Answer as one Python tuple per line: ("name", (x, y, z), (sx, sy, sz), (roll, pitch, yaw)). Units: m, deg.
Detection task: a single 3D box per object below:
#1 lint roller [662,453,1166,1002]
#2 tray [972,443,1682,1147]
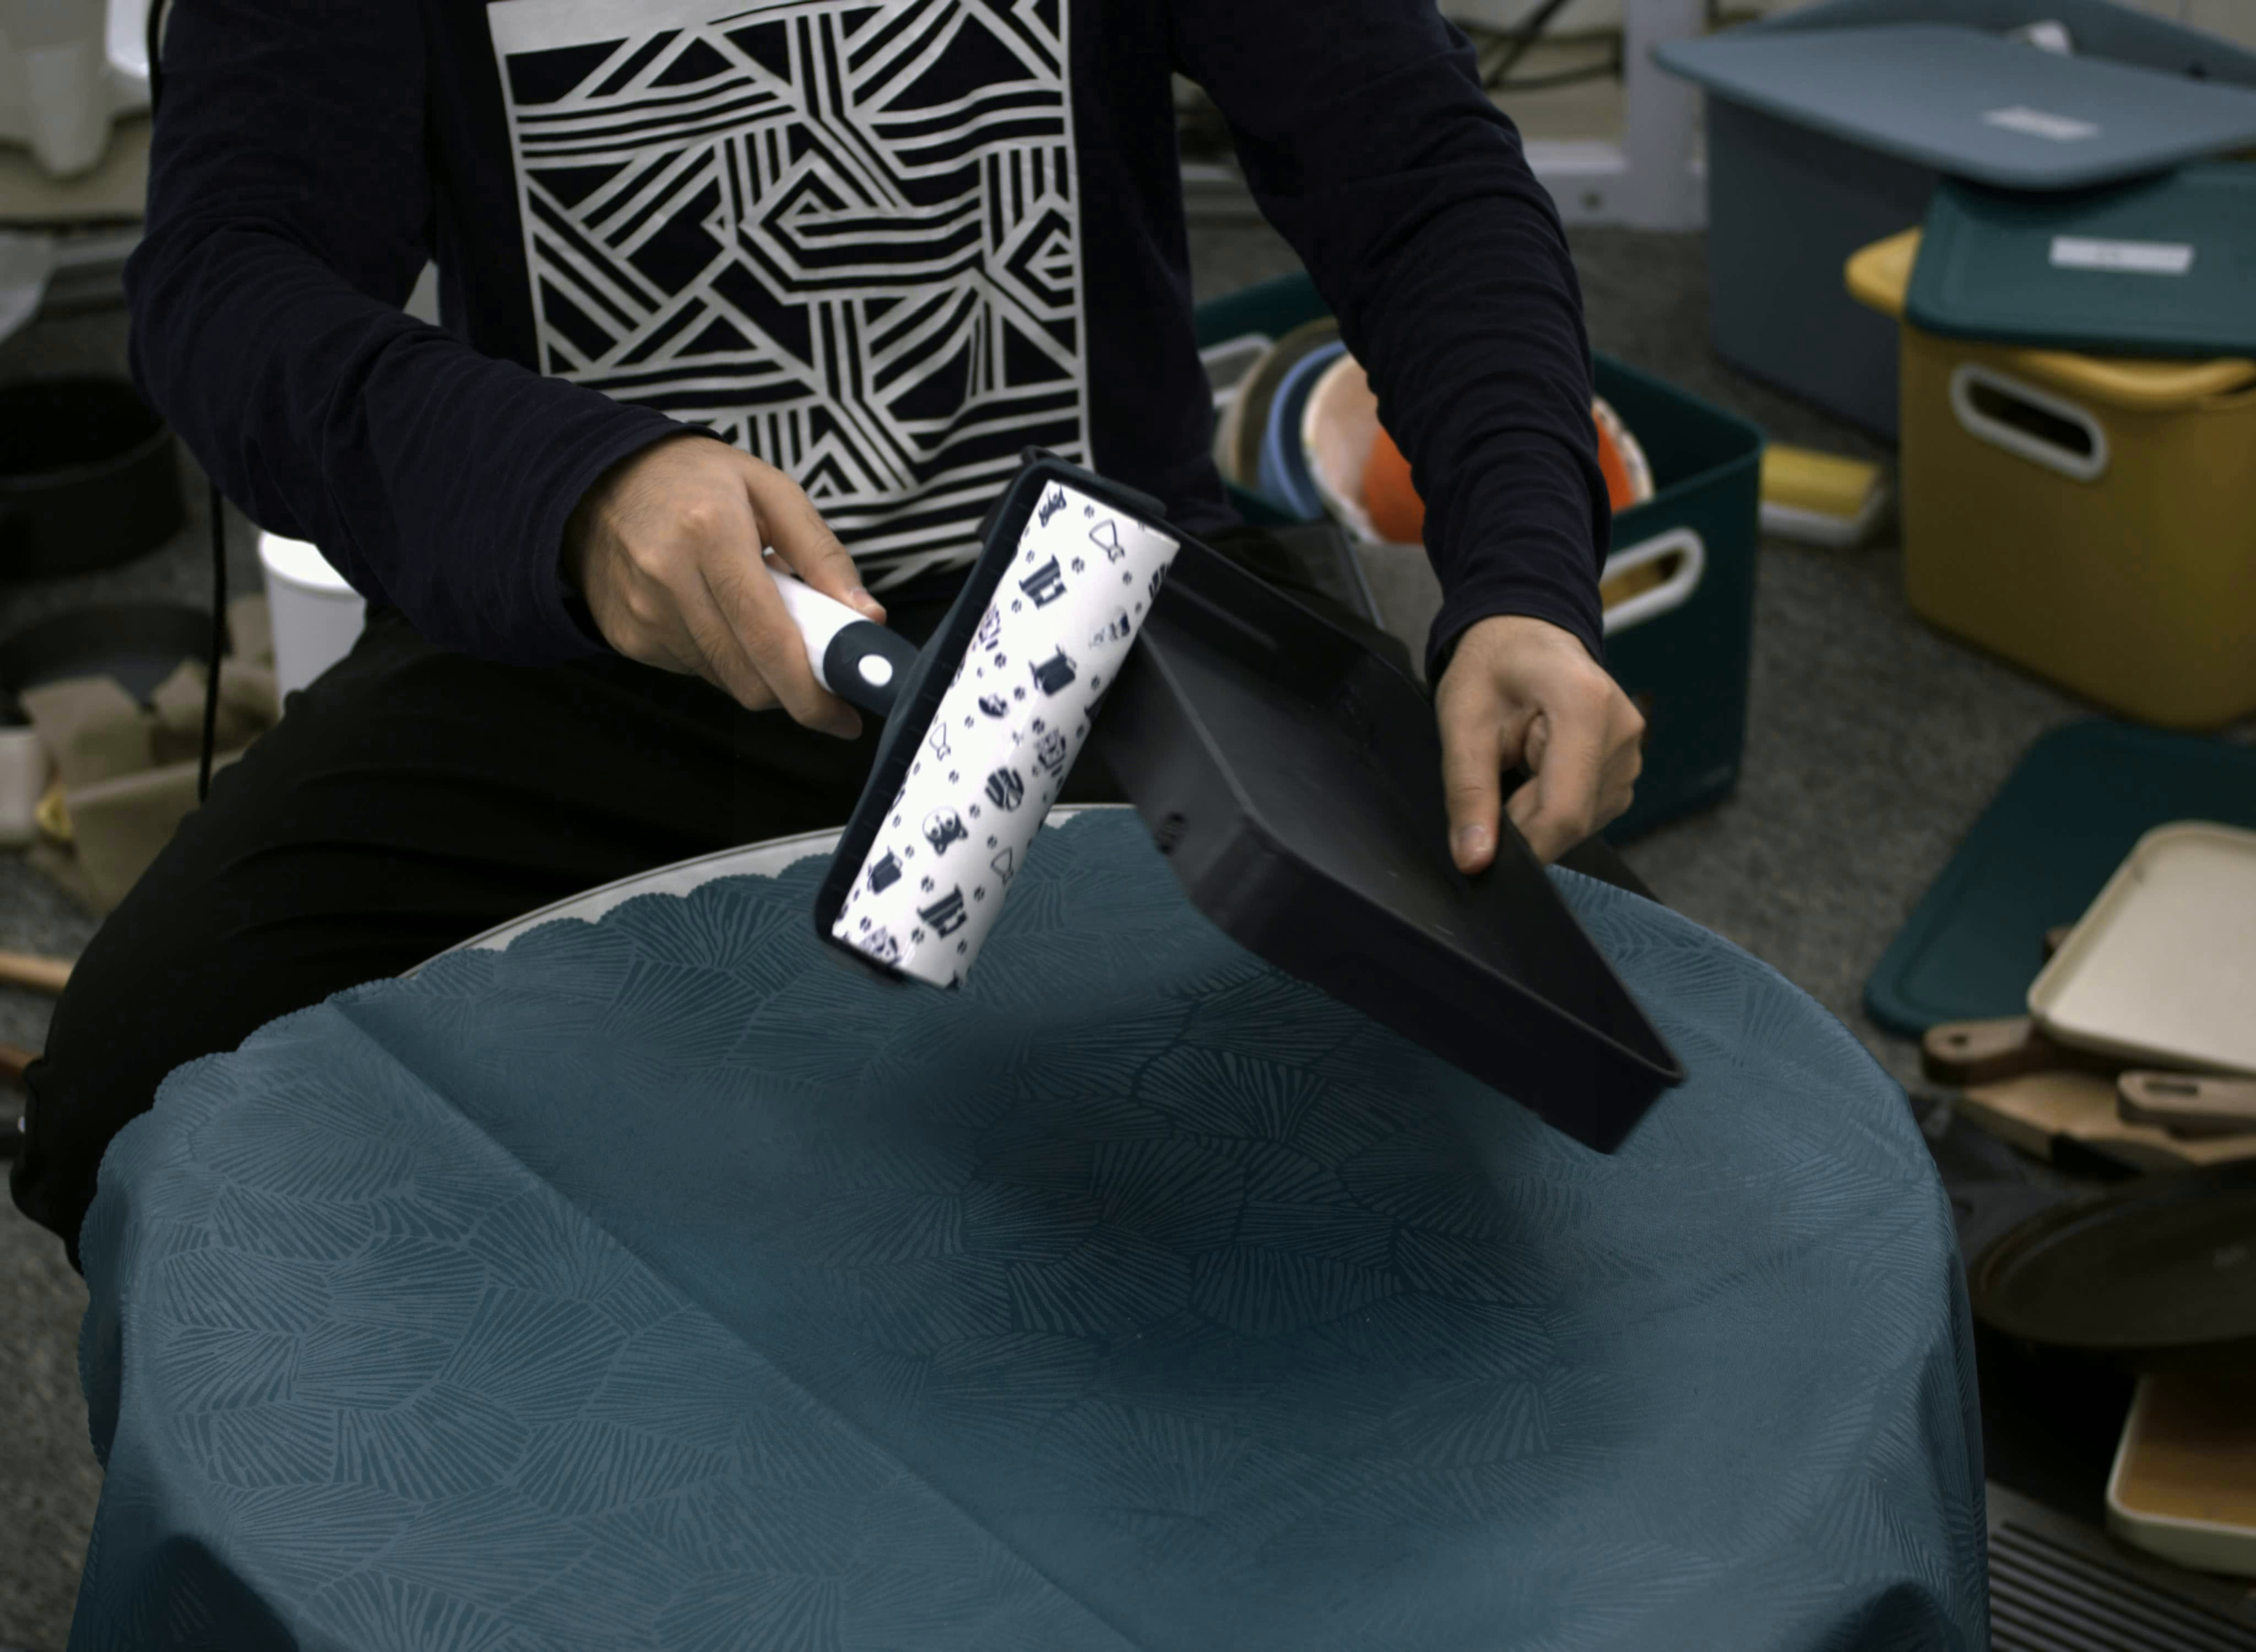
("lint roller", (-0.096, -0.057, 1.859), (0.050, 0.177, 0.247), (25, 1, -38))
("tray", (0.059, -0.015, 1.845), (0.183, 0.037, 0.321), (31, 14, -26))
